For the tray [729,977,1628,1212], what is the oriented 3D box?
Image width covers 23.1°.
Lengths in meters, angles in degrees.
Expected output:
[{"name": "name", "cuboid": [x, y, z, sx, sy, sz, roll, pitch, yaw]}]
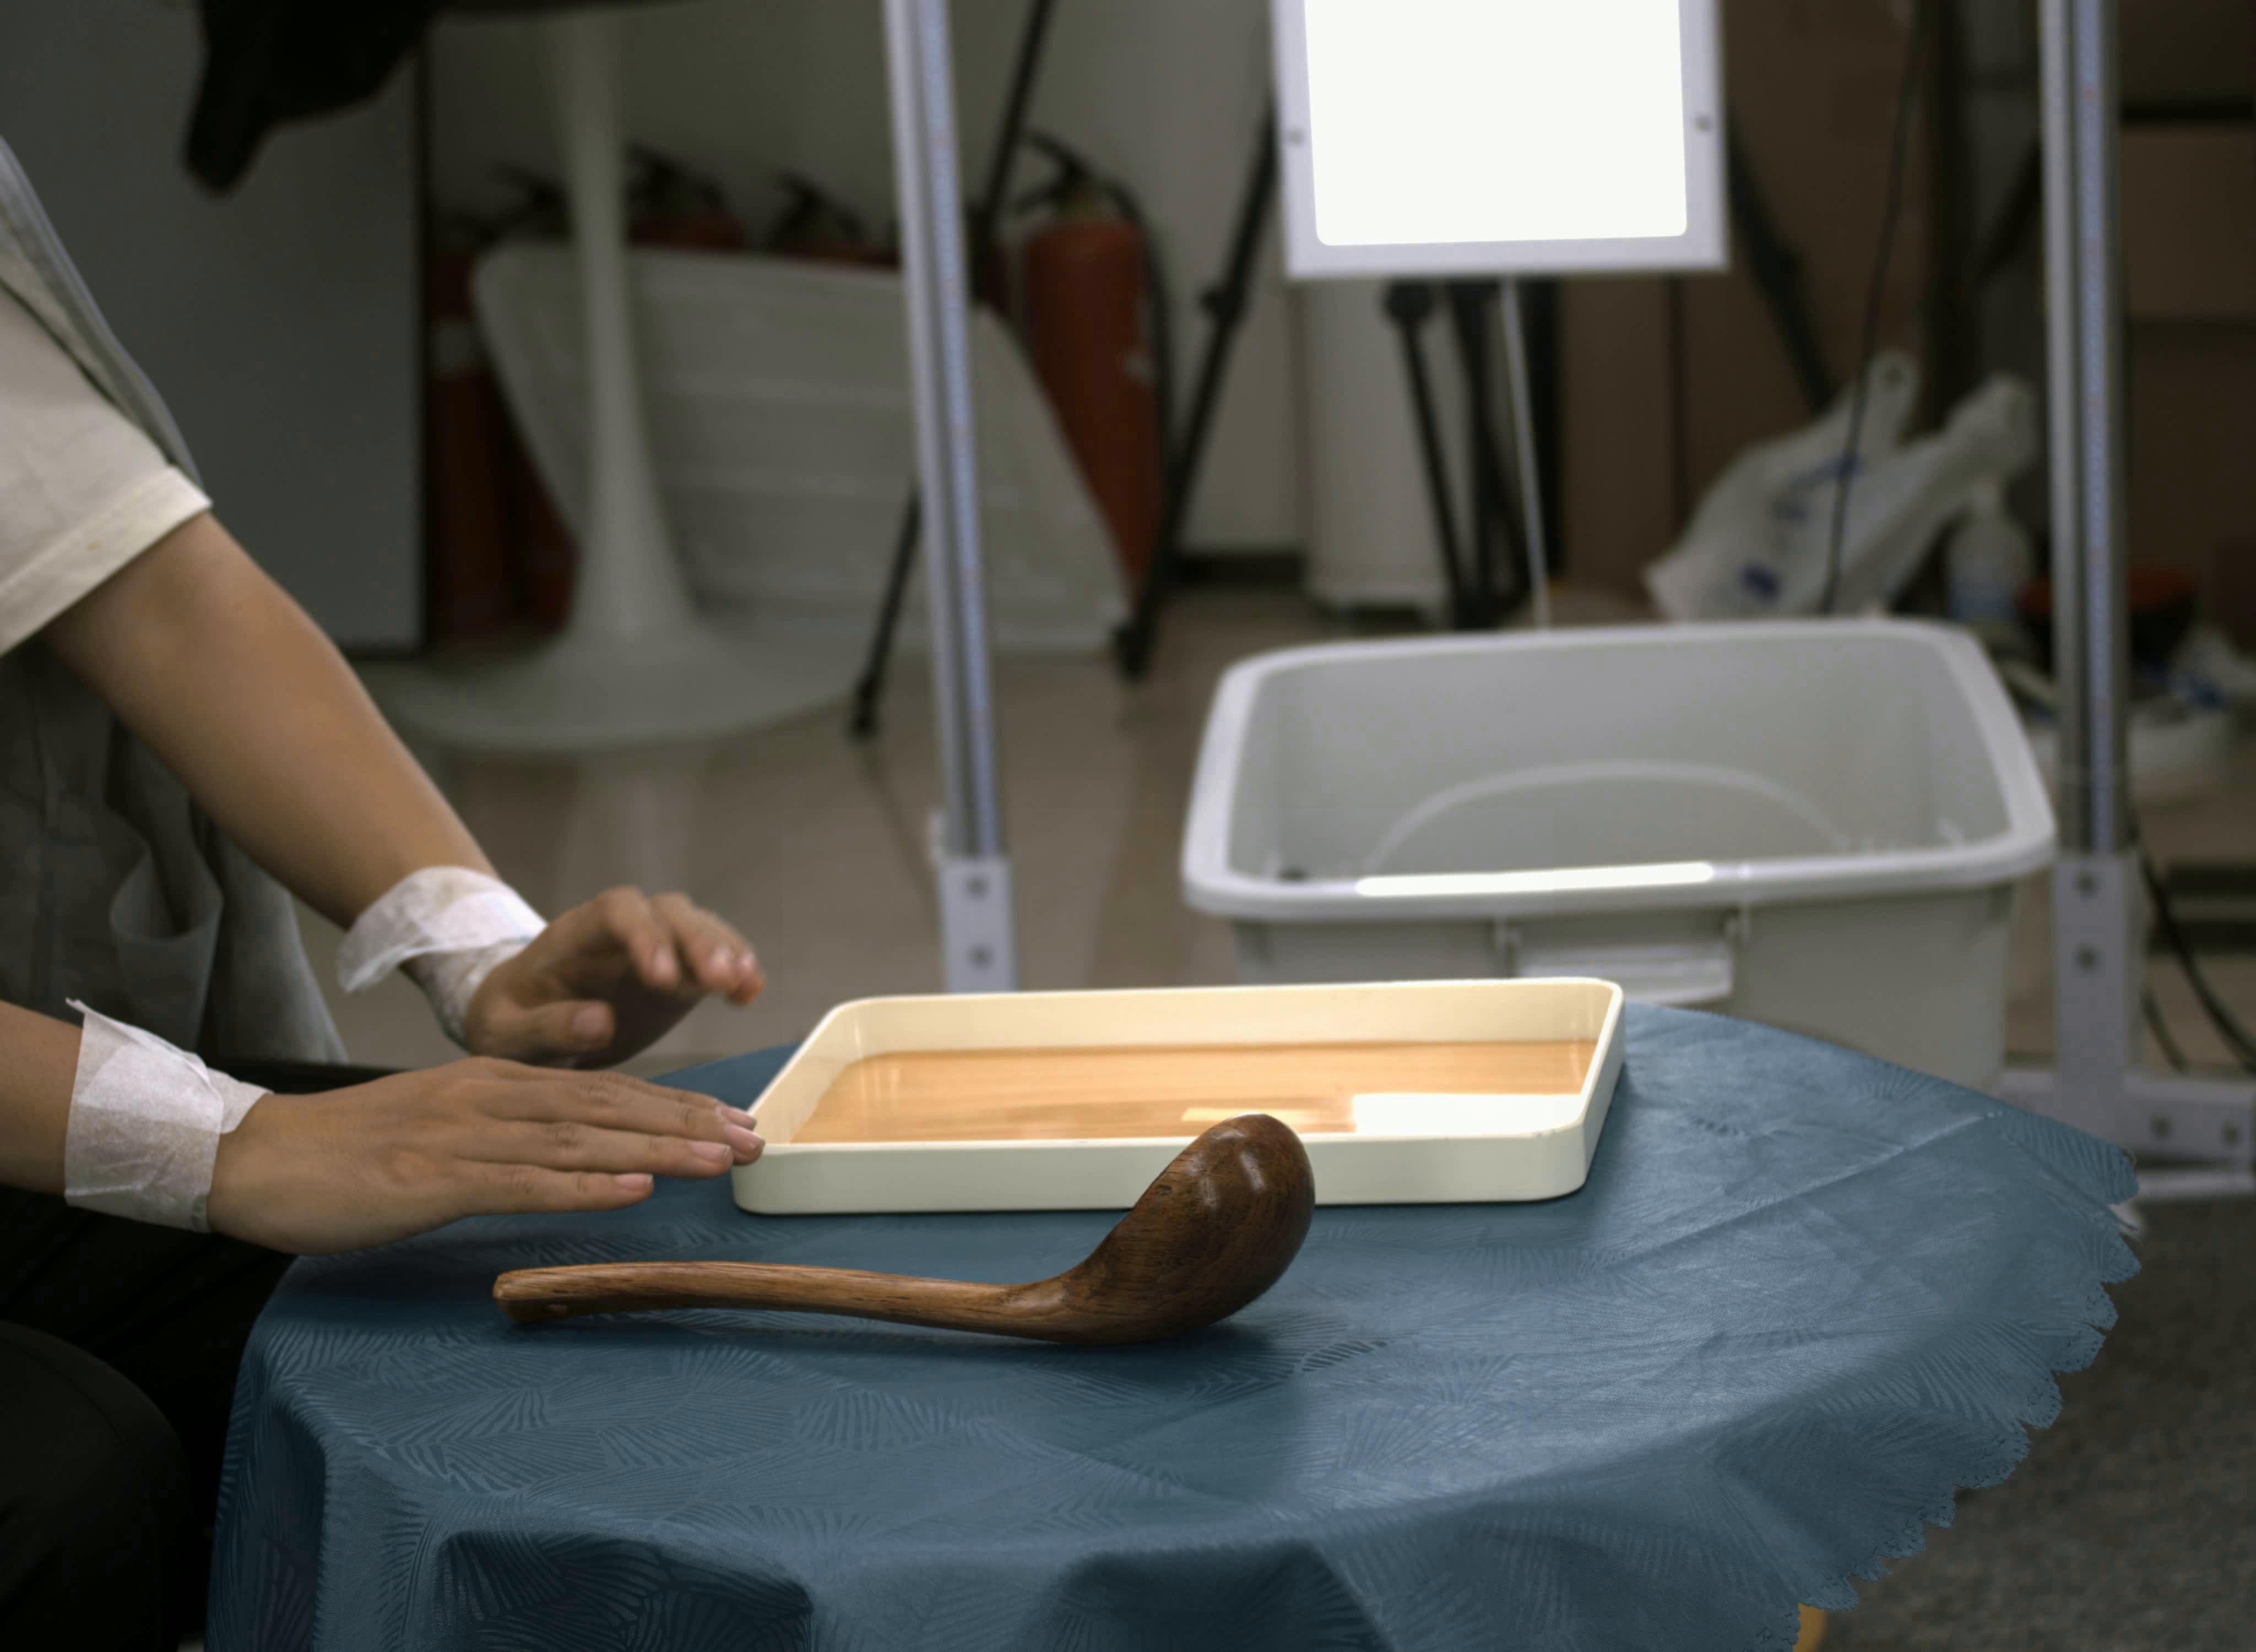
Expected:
[{"name": "tray", "cuboid": [0.022, 0.095, 1.960, 0.303, 0.027, 0.189, -2, 14, 13]}]

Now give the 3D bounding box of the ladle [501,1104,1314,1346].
[{"name": "ladle", "cuboid": [-0.073, 0.127, 1.775, 0.278, 0.076, 0.081, -1, -27, 23]}]
